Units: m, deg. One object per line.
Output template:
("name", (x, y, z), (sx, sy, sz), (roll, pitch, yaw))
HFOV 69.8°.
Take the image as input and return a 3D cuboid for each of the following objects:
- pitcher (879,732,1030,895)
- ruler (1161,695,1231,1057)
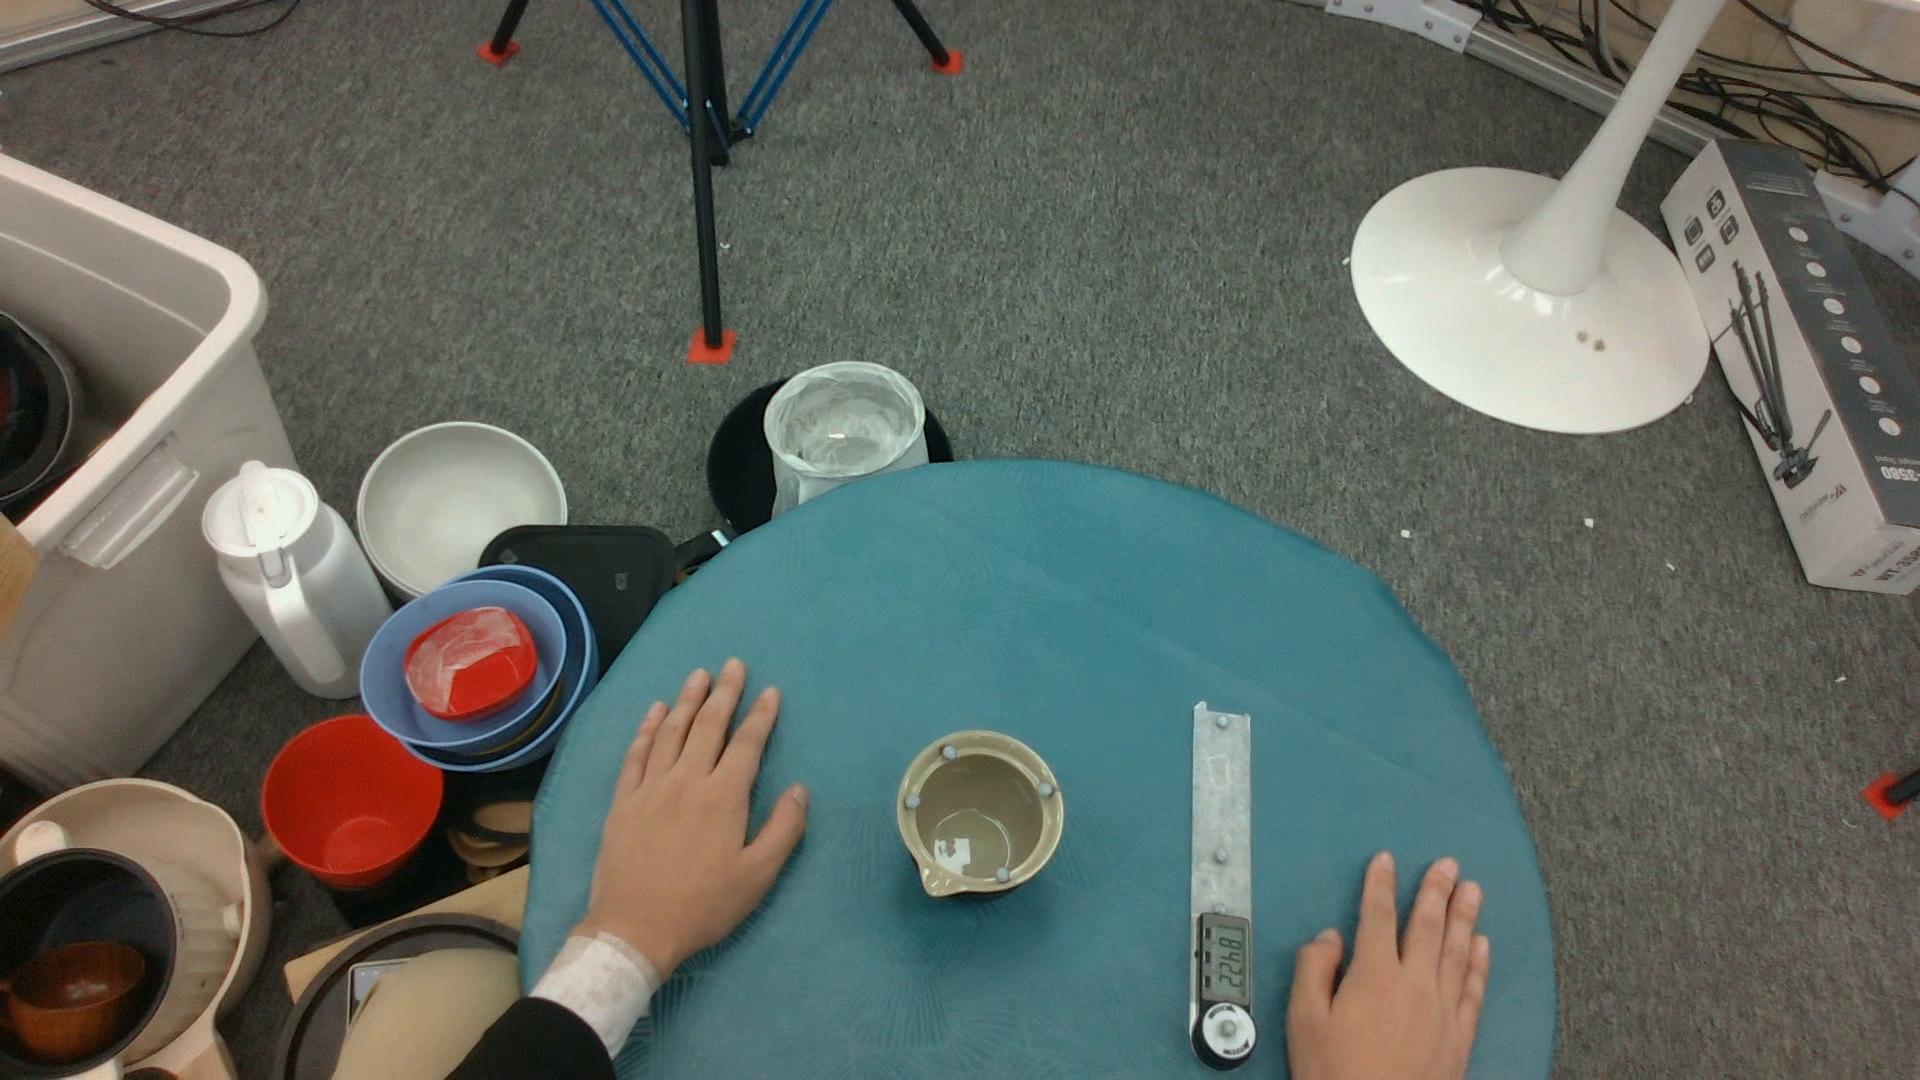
("pitcher", (-0.008, 0.164, 0.778), (0.083, 0.071, 0.096), (28, 57, 10))
("ruler", (0.142, 0.188, 0.810), (0.038, 0.024, 0.219), (12, 57, -6))
